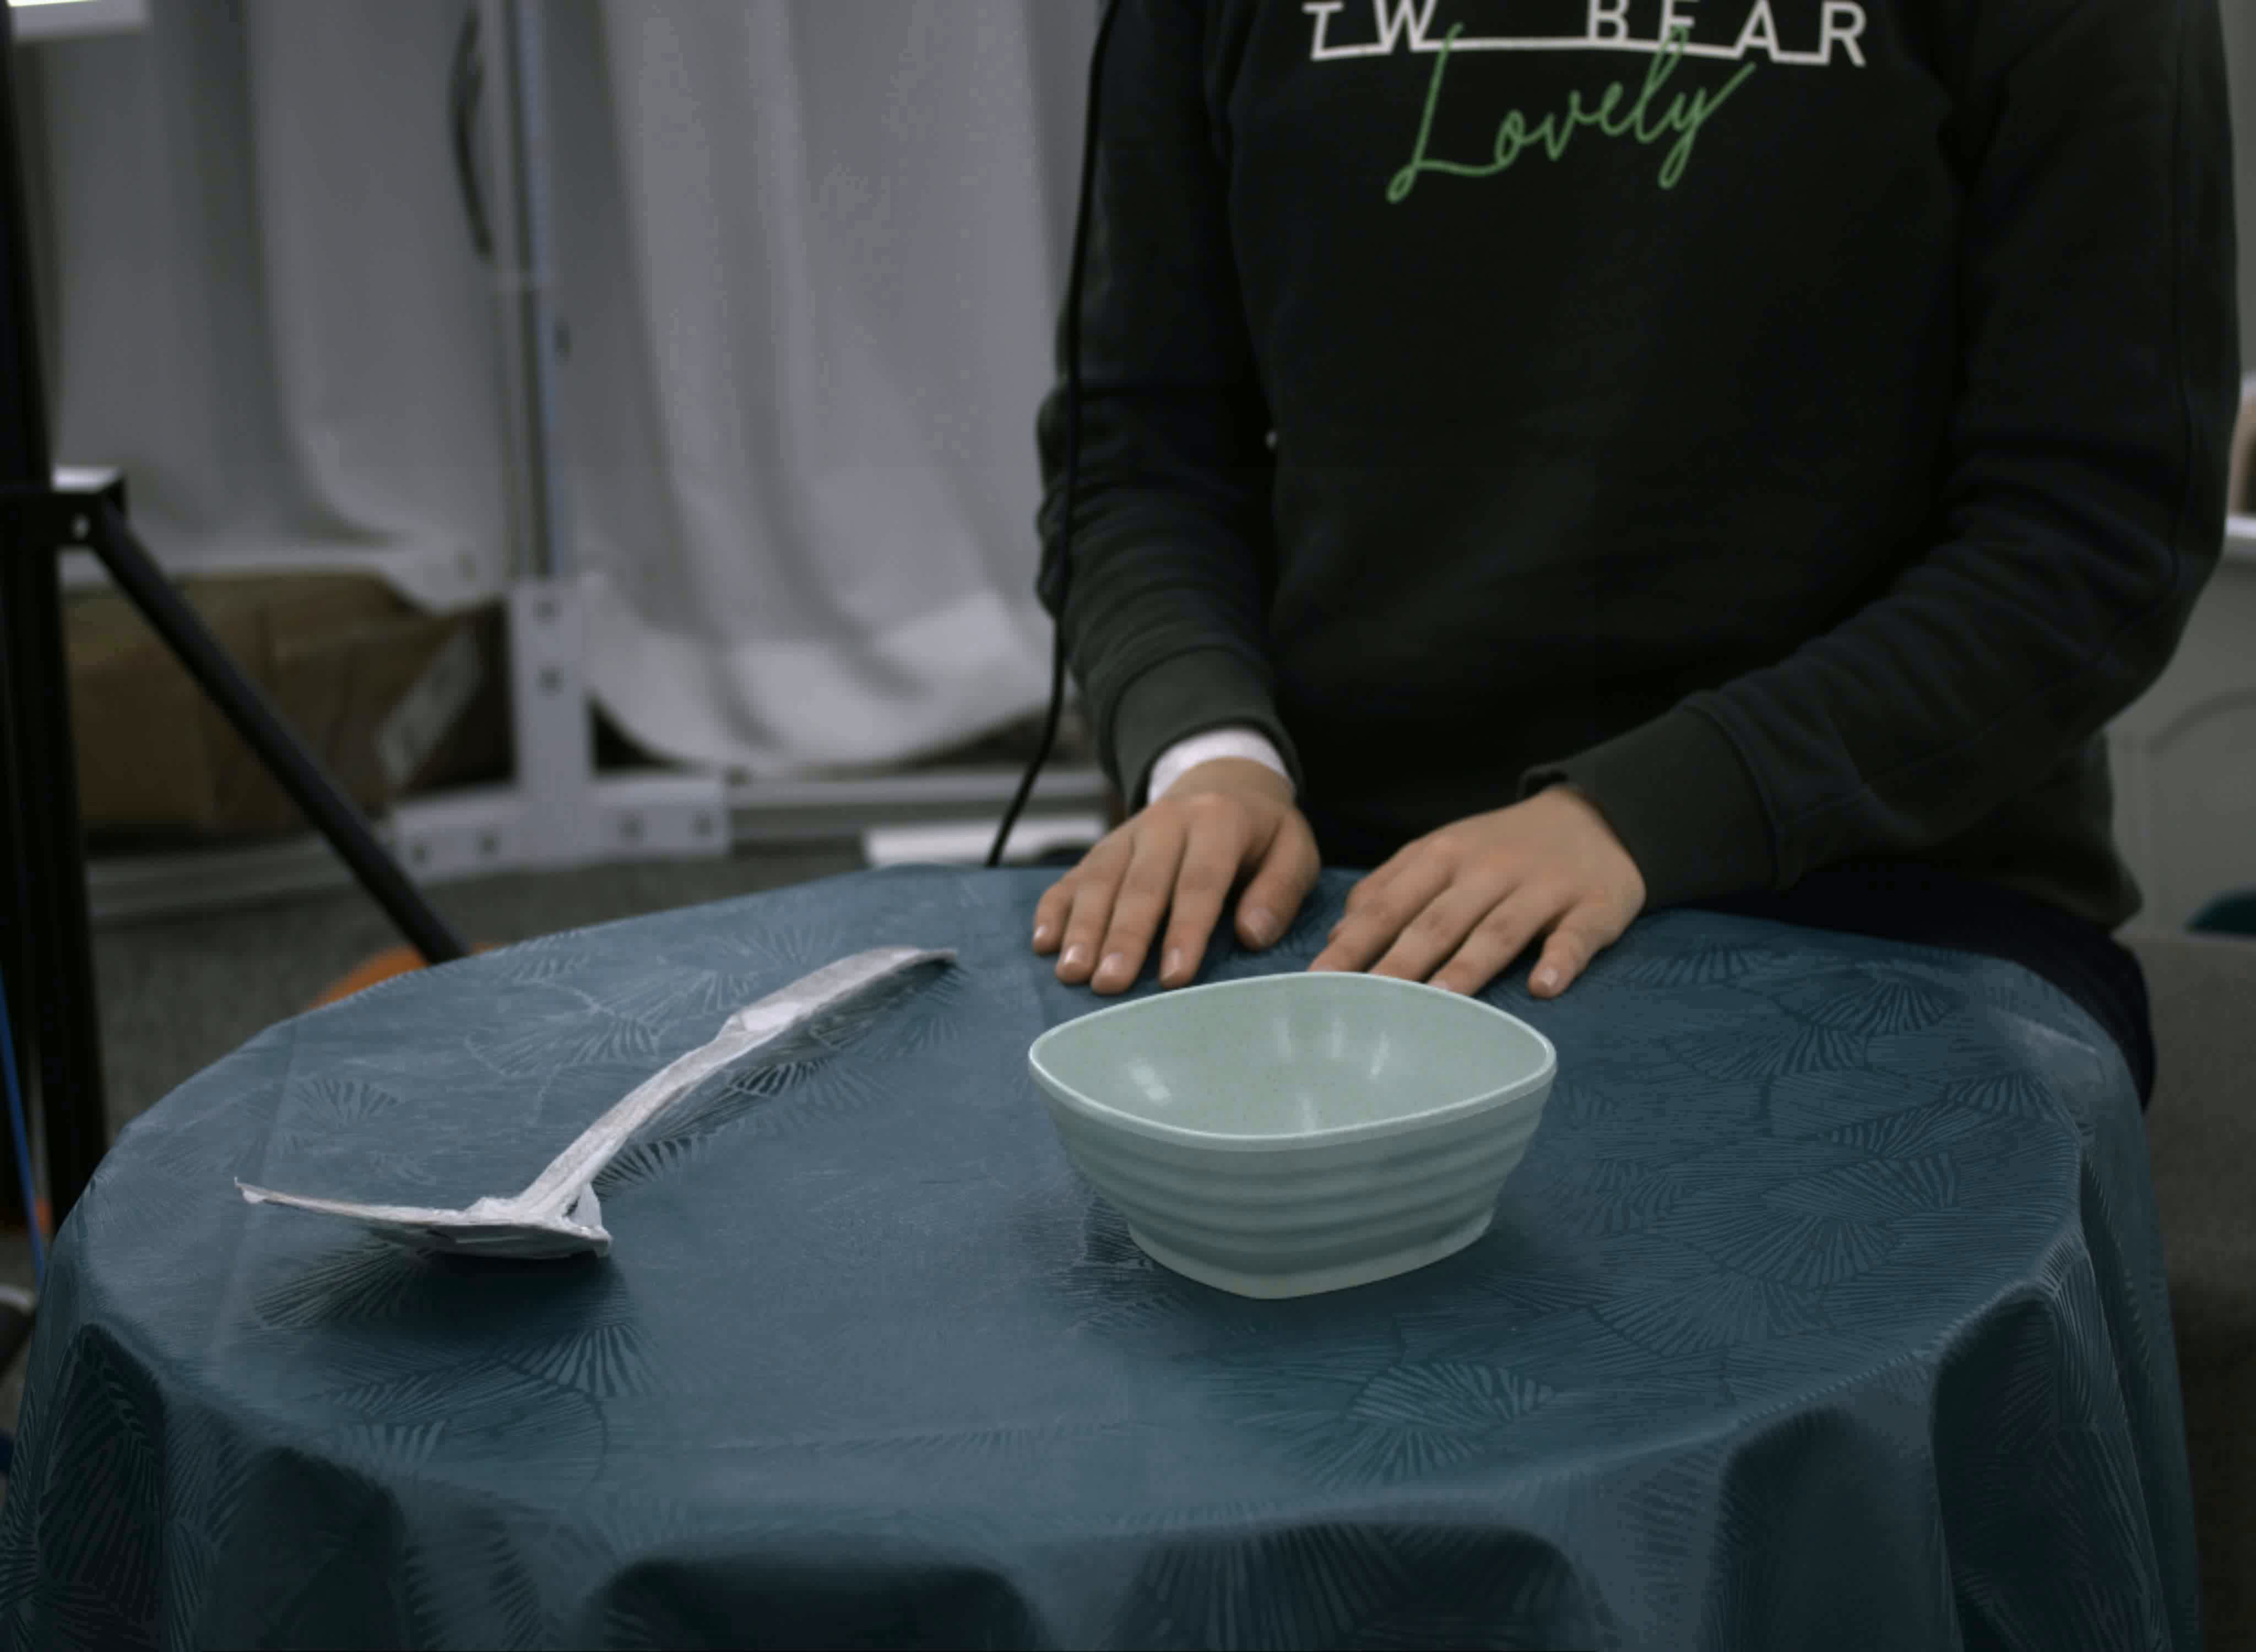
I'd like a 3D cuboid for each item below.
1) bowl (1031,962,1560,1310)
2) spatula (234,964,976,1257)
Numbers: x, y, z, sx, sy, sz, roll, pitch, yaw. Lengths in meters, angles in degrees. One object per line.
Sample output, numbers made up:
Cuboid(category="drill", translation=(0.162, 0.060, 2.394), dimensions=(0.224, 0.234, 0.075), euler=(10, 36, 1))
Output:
Cuboid(category="bowl", translation=(0.048, 0.092, 1.506), dimensions=(0.150, 0.058, 0.152), euler=(-3, 18, -1))
Cuboid(category="spatula", translation=(-0.137, 0.076, 1.621), dimensions=(0.100, 0.045, 0.359), euler=(3, 17, 25))
